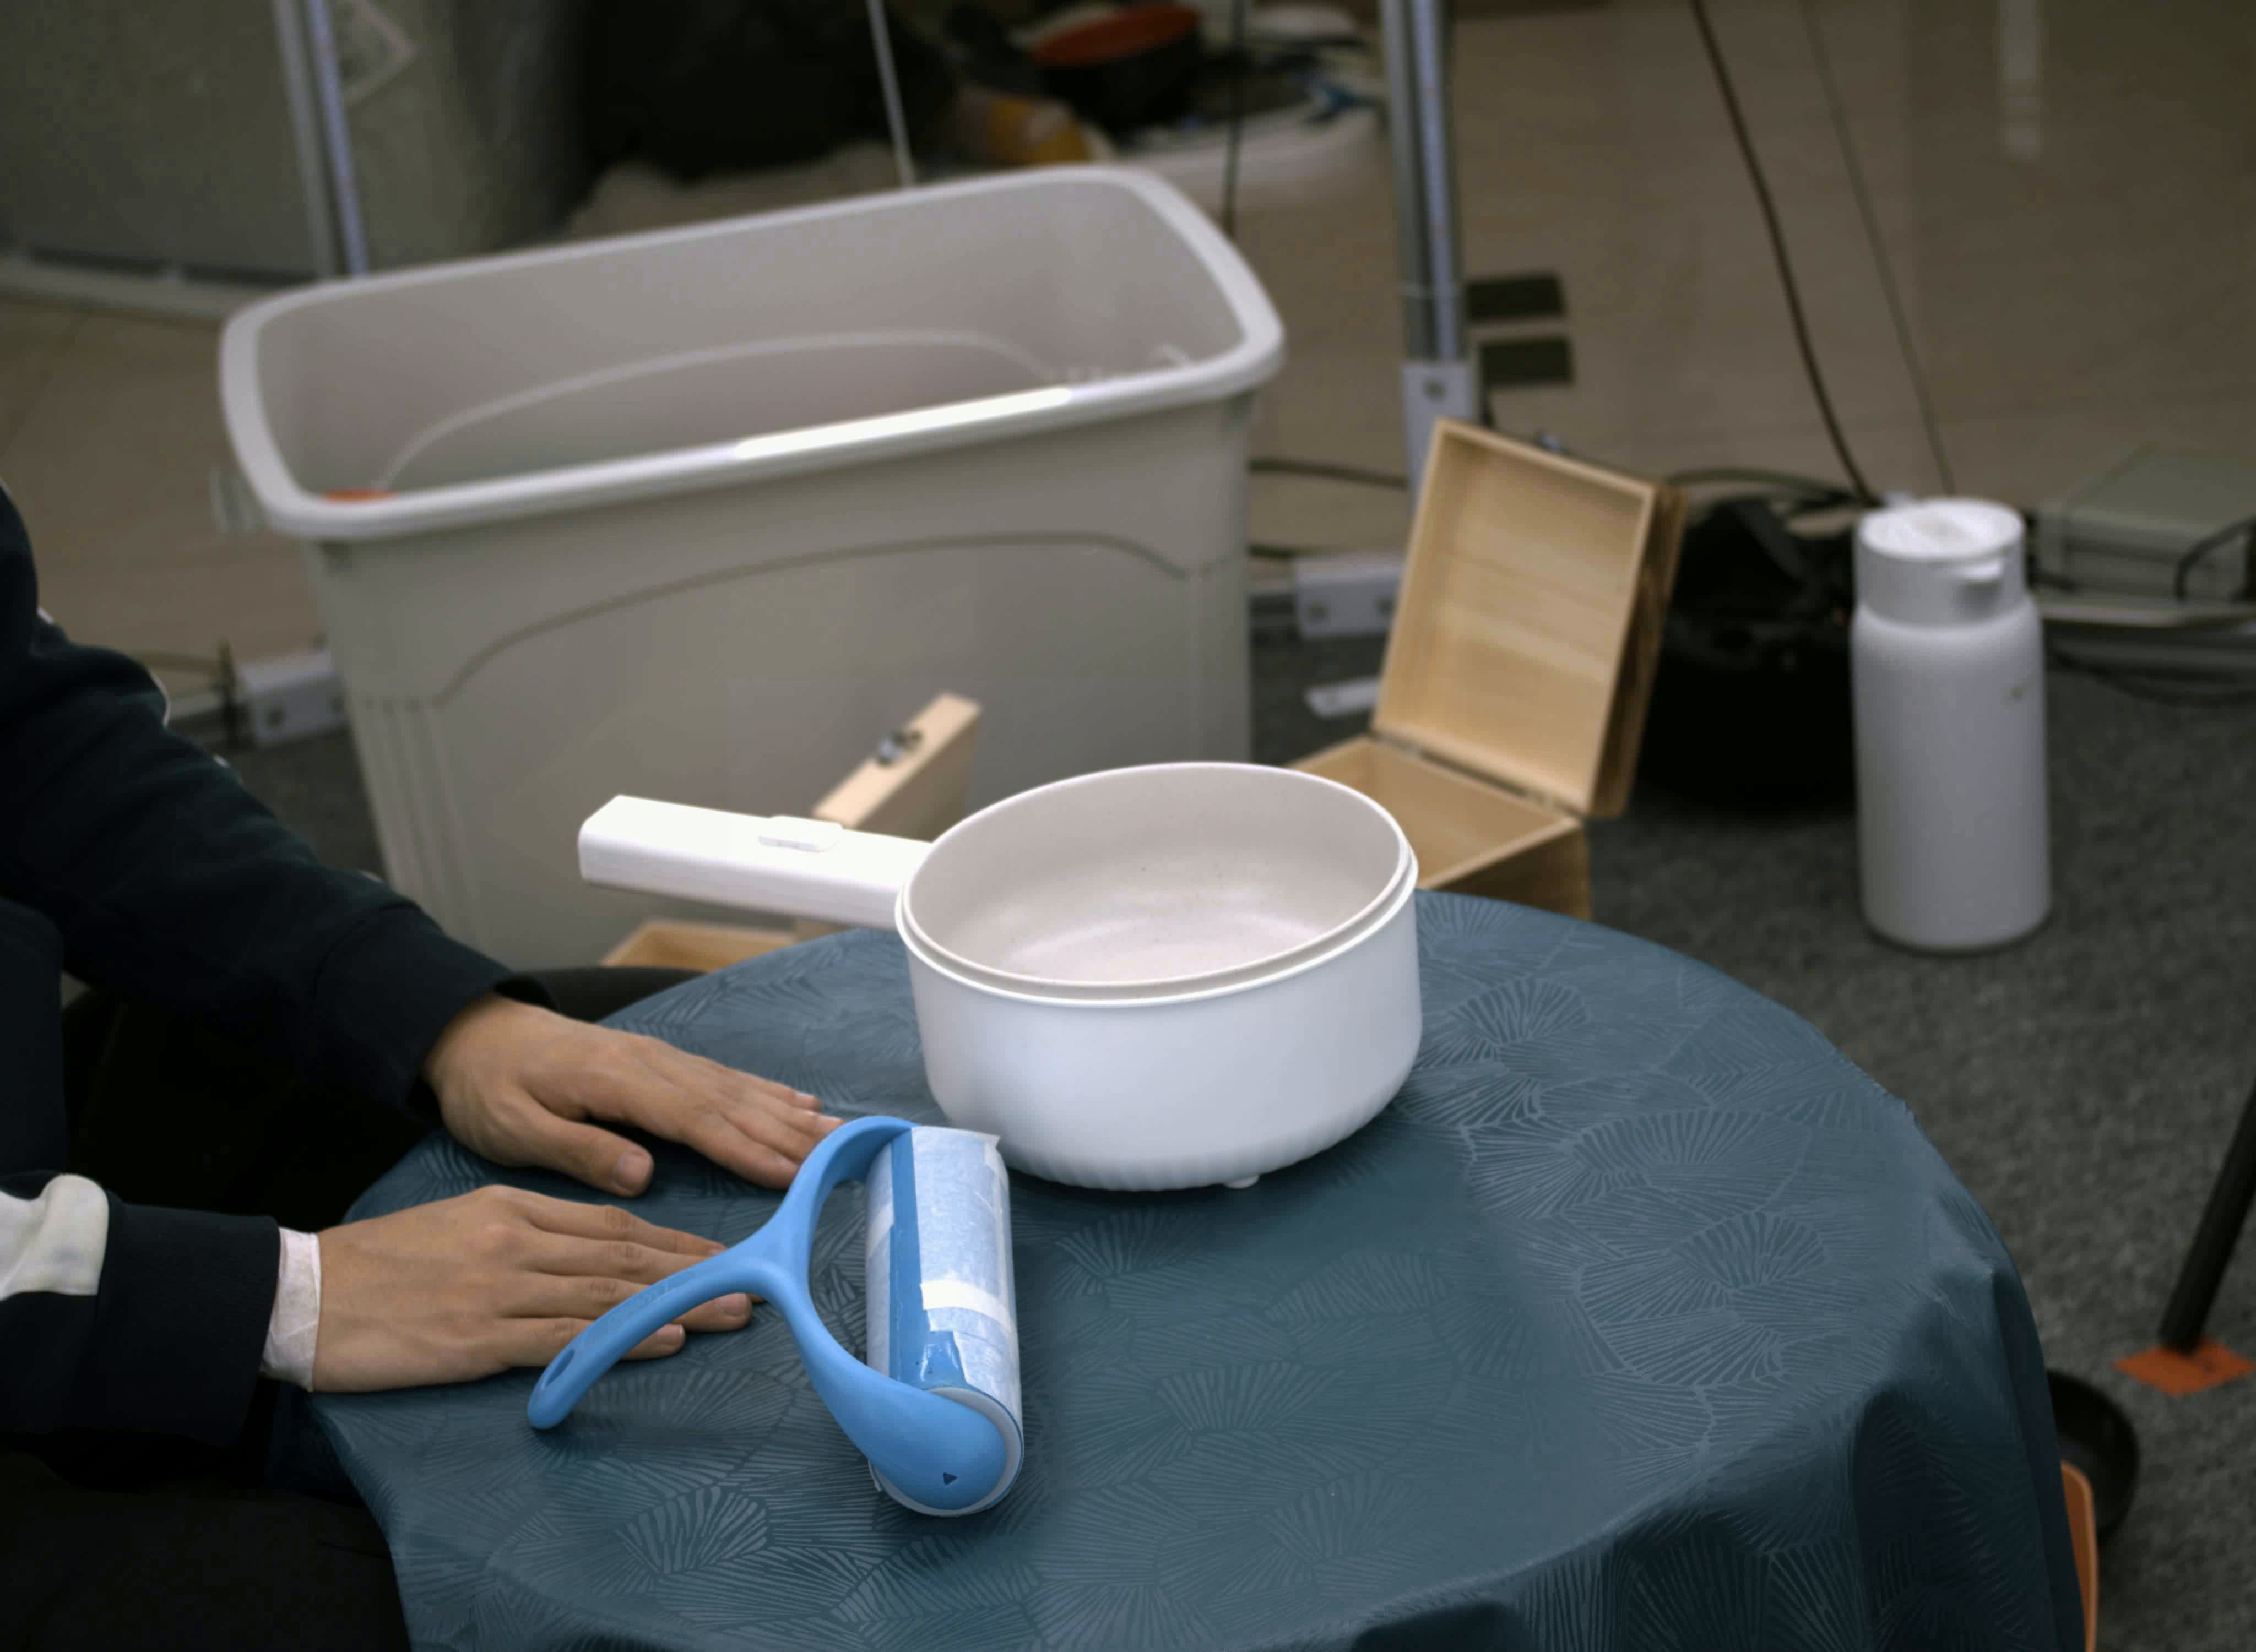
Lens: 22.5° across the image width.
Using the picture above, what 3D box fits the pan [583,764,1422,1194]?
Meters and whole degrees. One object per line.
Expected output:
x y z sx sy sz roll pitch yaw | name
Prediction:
-0.053 0.055 2.220 0.353 0.104 0.198 6 29 28 | pan

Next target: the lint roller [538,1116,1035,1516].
-0.124 0.180 2.020 0.180 0.069 0.225 -7 26 -3 | lint roller
